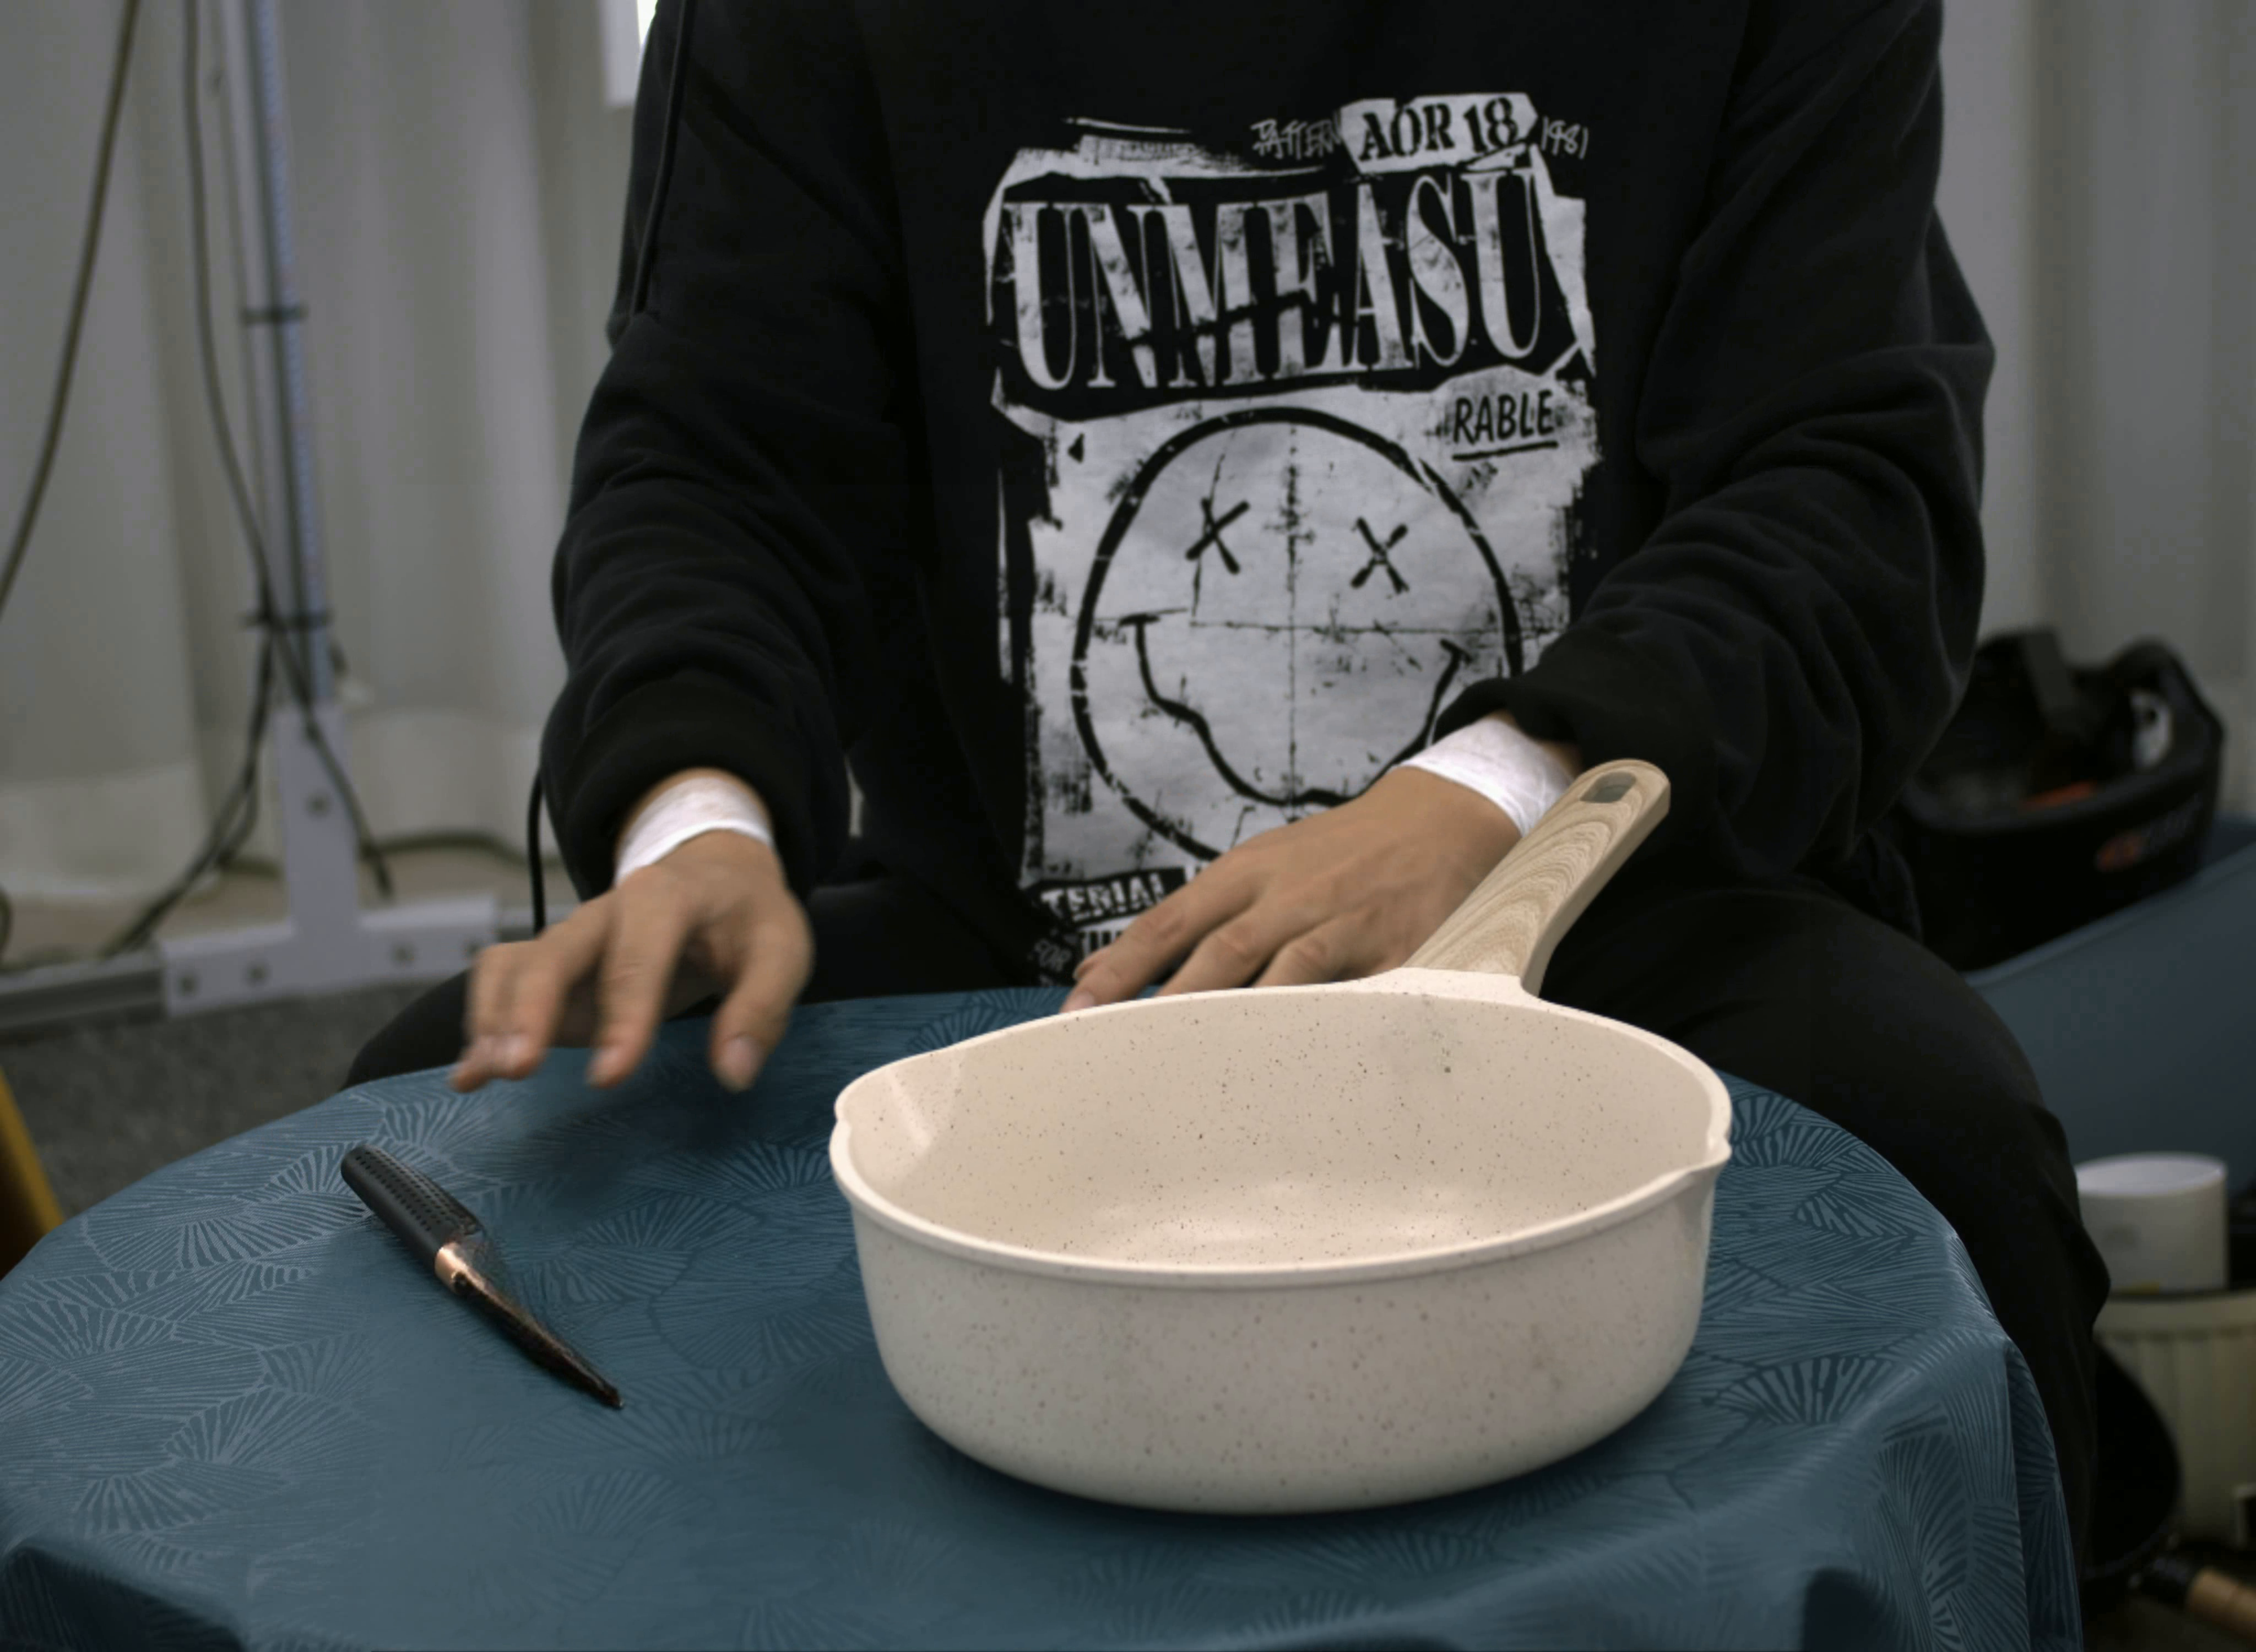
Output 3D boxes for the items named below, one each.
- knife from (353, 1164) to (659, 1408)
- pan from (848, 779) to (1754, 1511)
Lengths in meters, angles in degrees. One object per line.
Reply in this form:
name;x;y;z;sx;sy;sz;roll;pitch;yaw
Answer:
knife;-0.190;0.138;1.645;0.026;0.017;0.227;6;10;-28
pan;0.084;0.089;1.606;0.263;0.101;0.436;2;15;23
